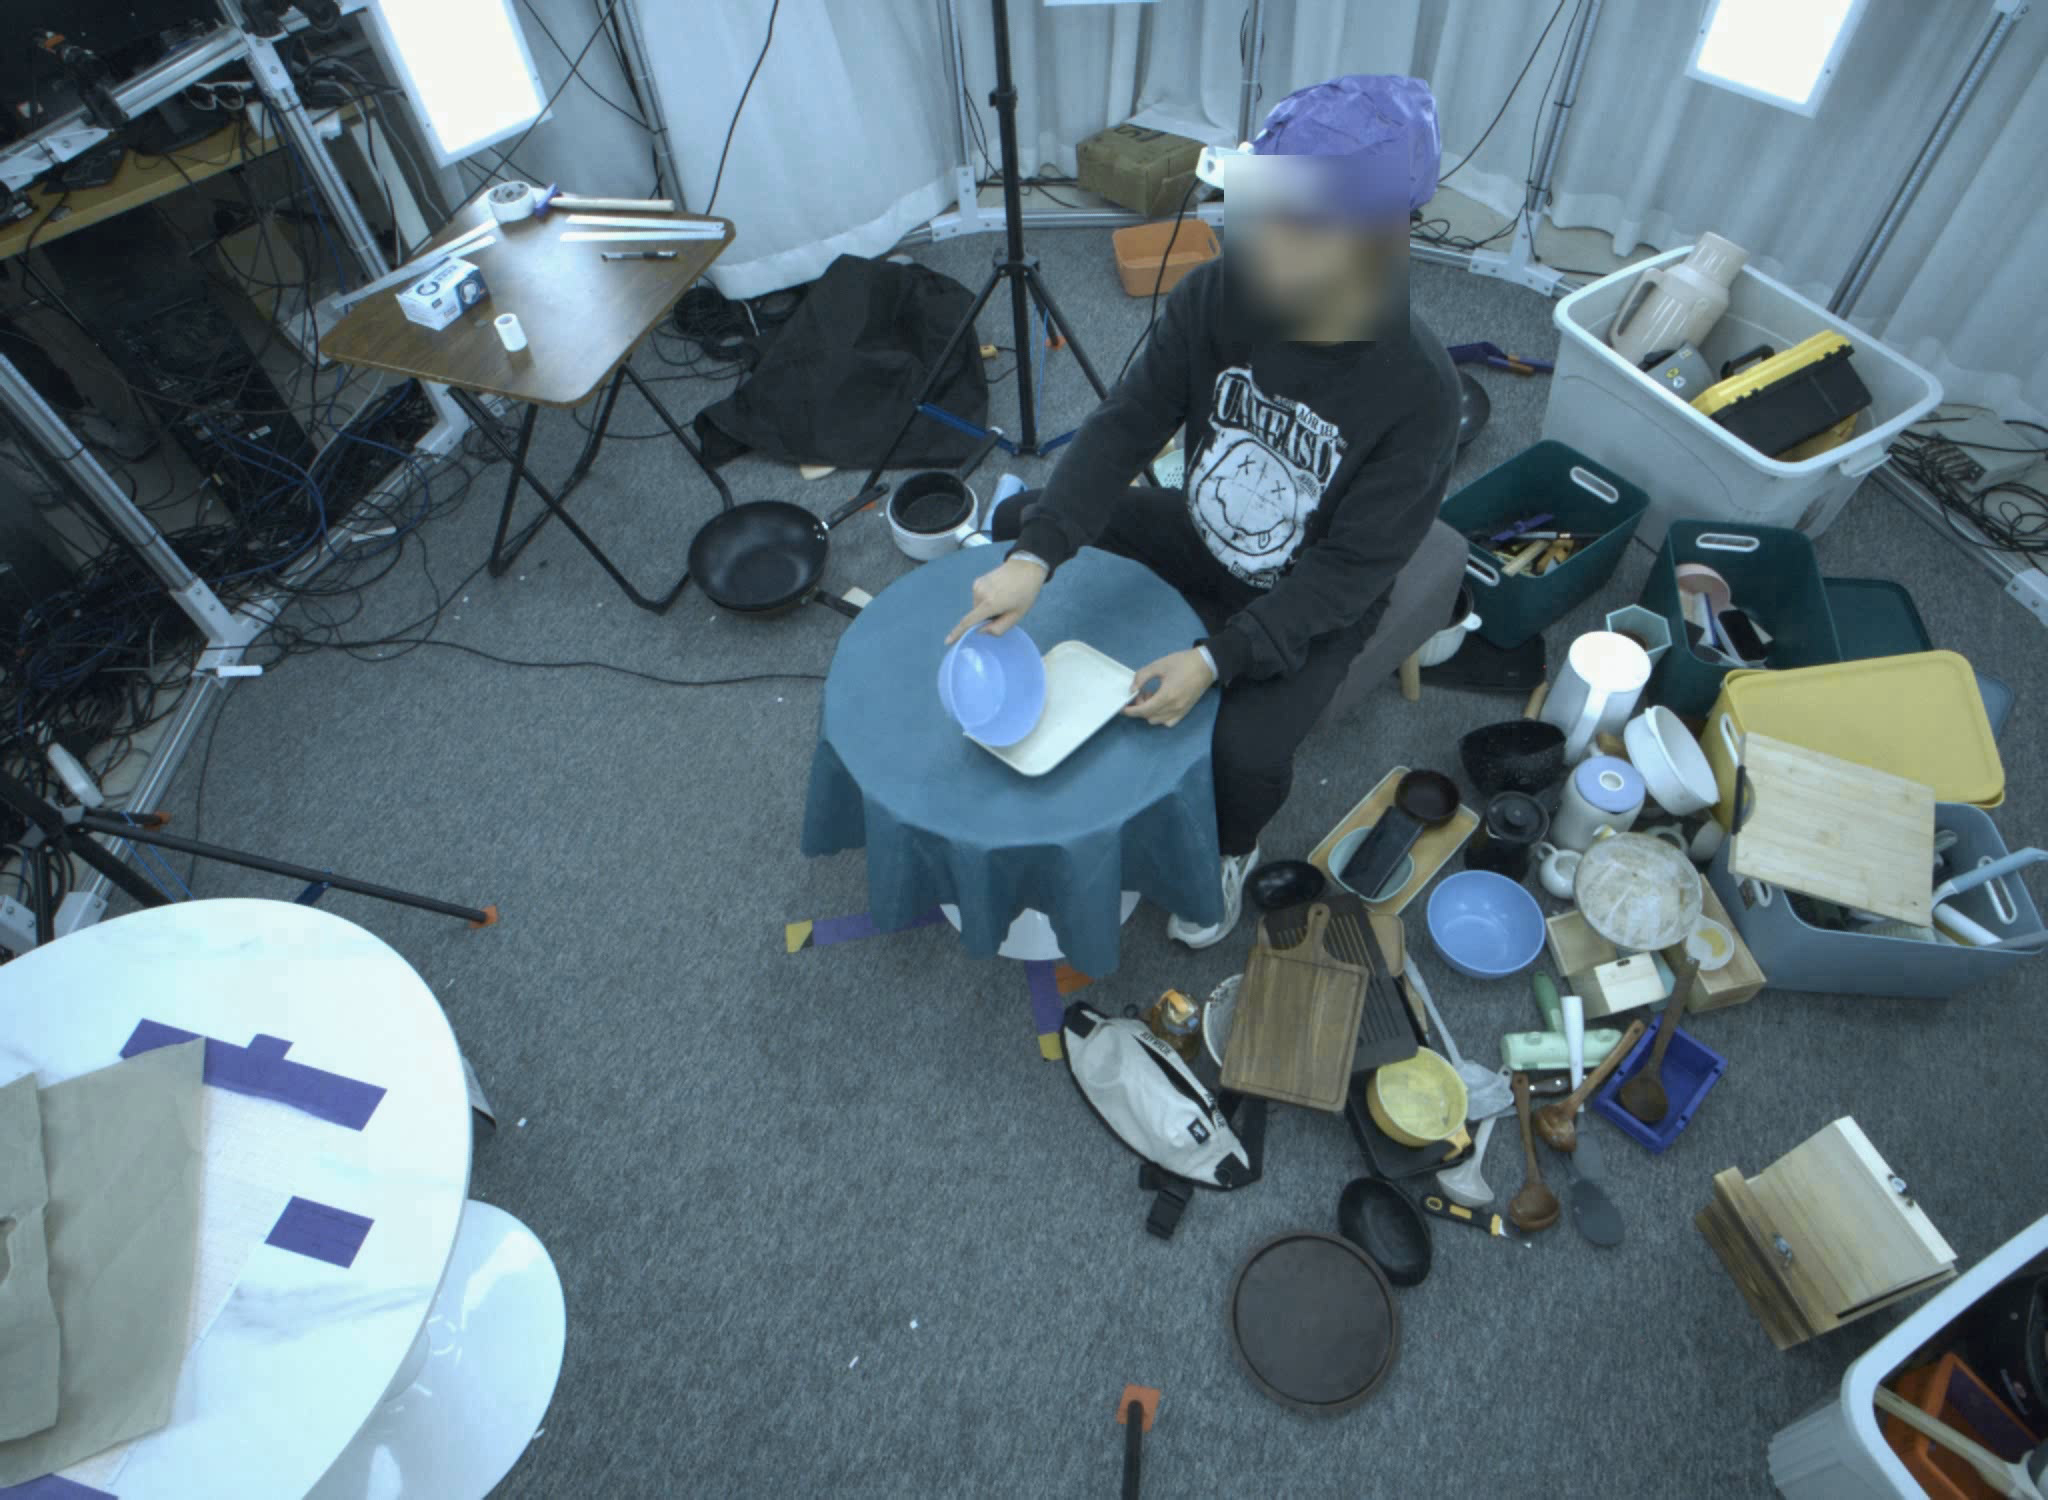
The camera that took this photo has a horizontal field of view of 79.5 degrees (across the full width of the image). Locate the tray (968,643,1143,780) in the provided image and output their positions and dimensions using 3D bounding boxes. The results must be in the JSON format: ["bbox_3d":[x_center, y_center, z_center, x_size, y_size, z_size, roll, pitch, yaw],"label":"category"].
[{"bbox_3d":[0.047,-0.058,1.811,0.241,0.018,0.167,-40,54,-22],"label":"tray"}]

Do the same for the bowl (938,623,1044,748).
[{"bbox_3d":[-0.057,-0.090,1.738,0.069,0.179,0.176,2,47,47],"label":"bowl"}]
